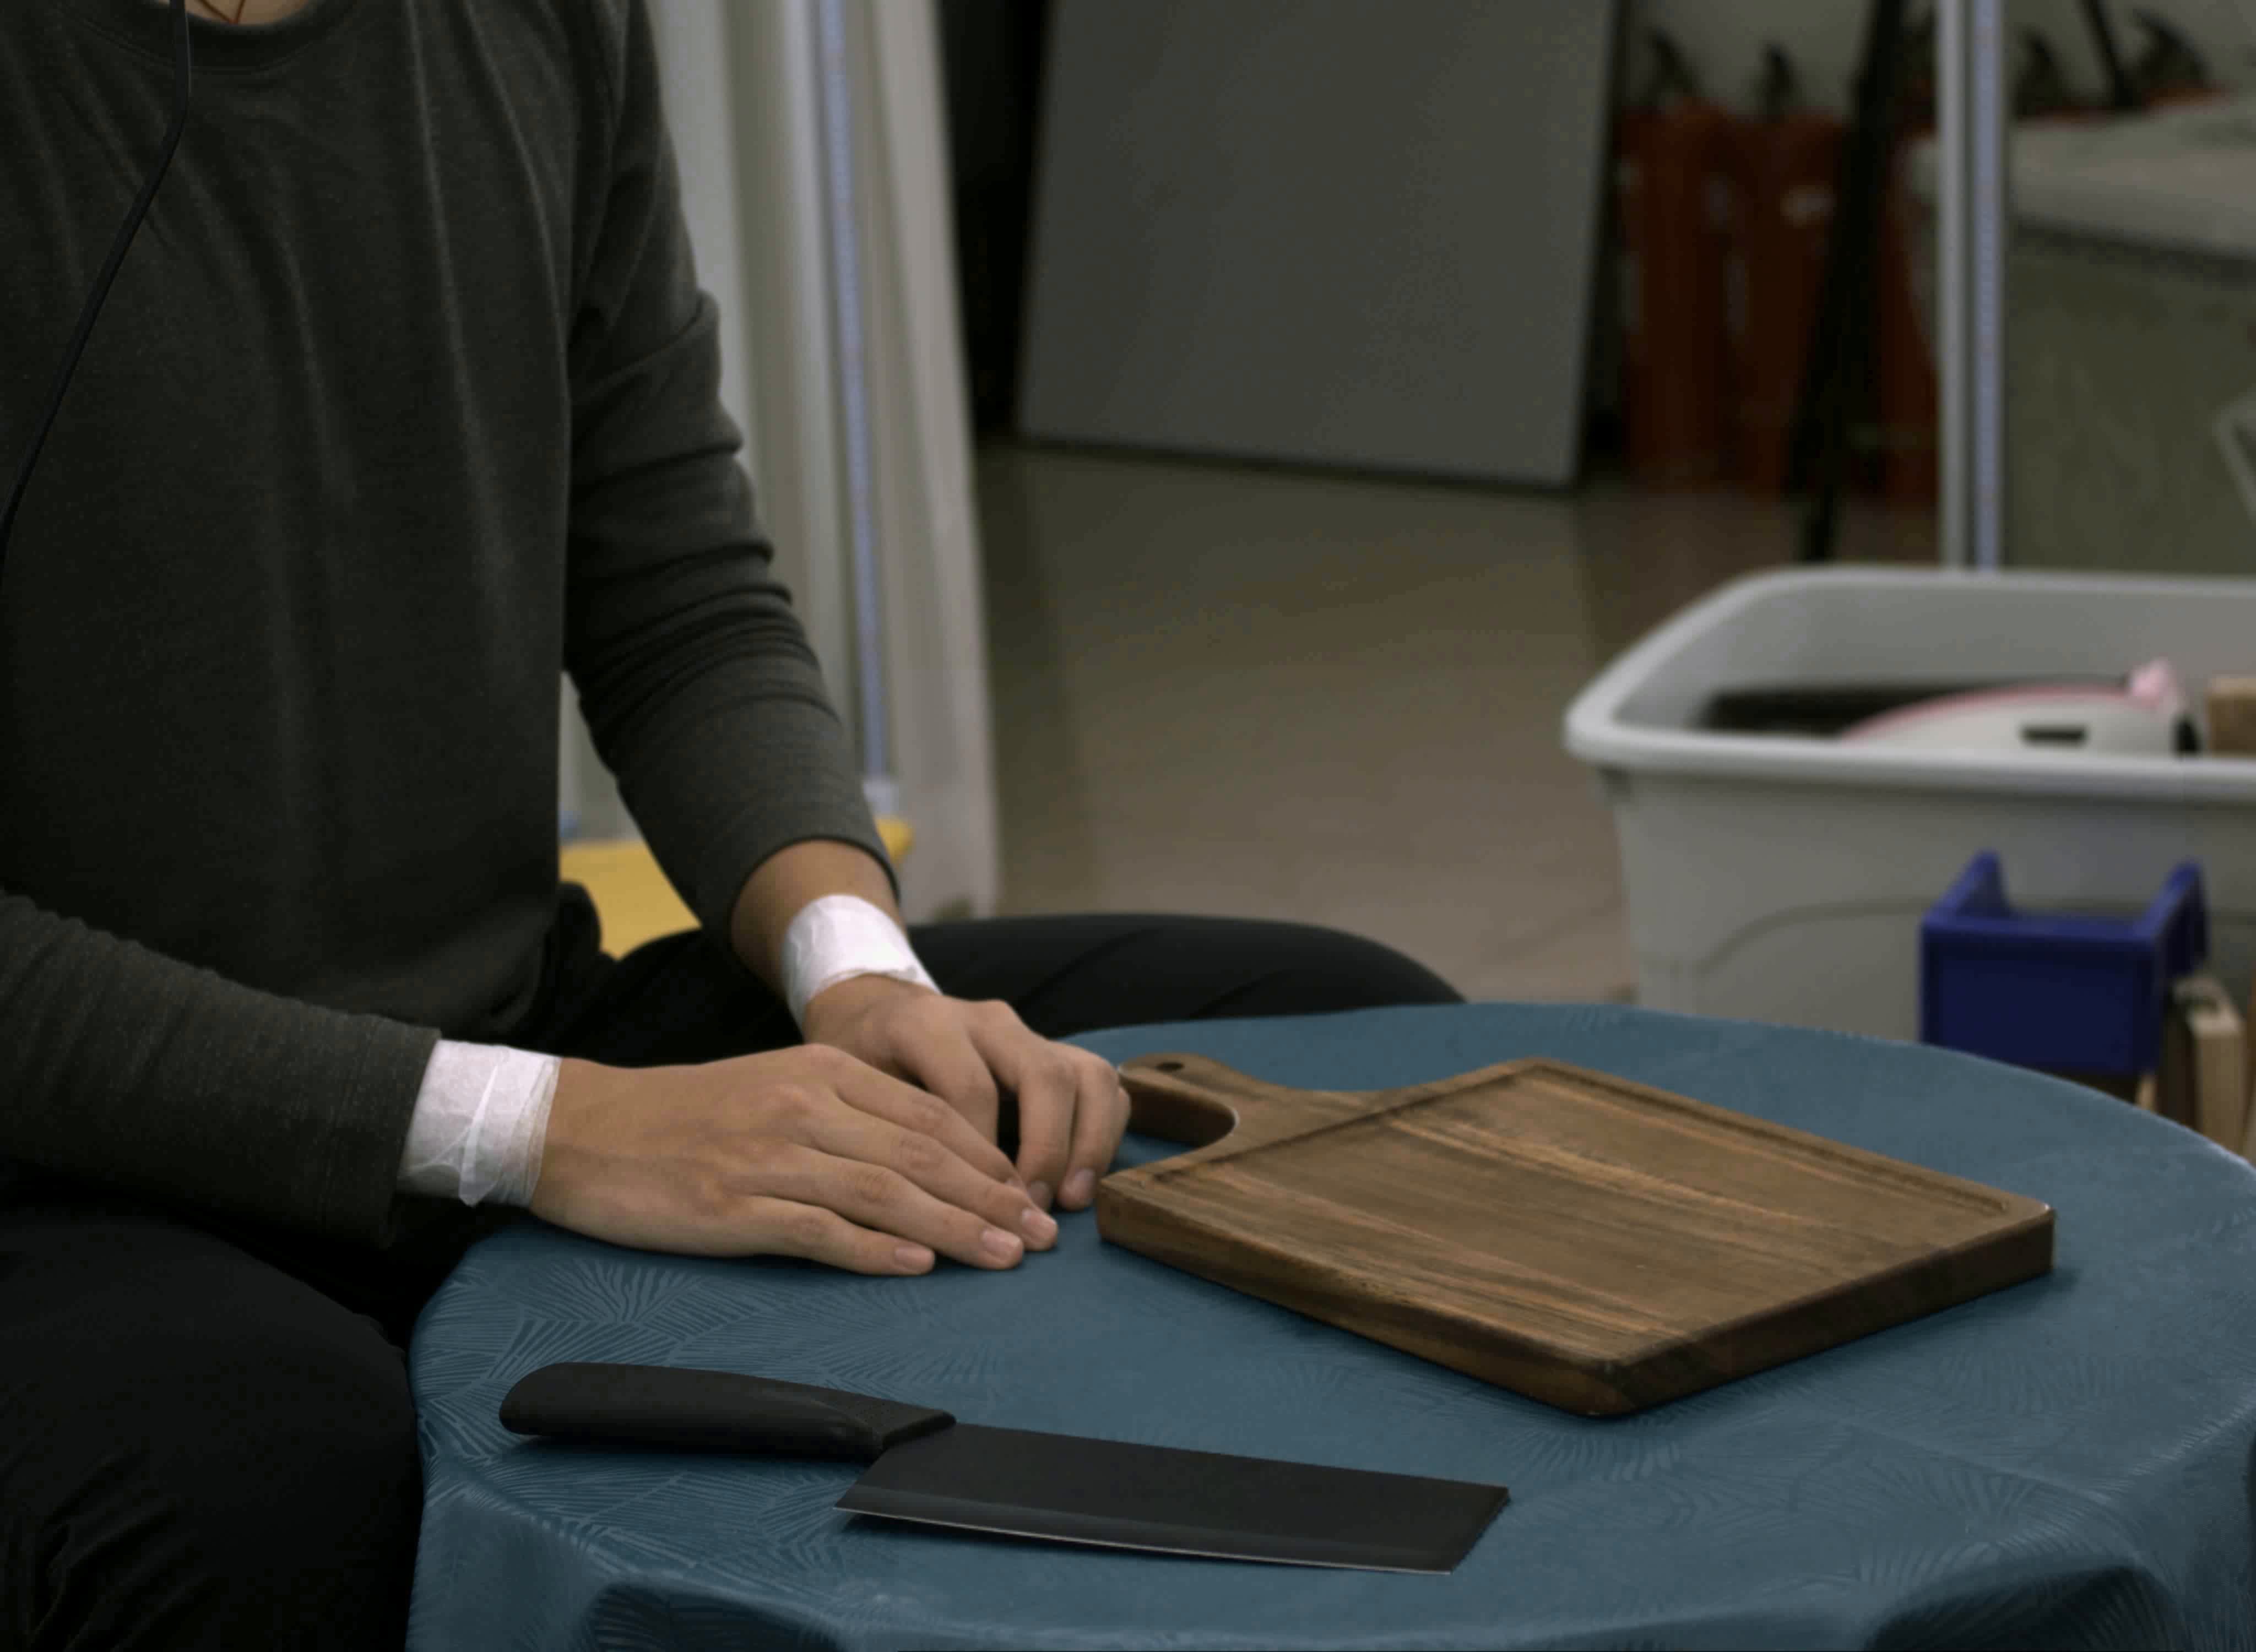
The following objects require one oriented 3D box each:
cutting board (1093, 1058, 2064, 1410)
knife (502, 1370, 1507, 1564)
[{"bbox_3d":[0.108,0.116,1.720,0.196,0.023,0.356,-13,16,-35],"label":"cutting board"},{"bbox_3d":[-0.041,0.181,1.513,0.303,0.021,0.080,5,17,26],"label":"knife"}]
